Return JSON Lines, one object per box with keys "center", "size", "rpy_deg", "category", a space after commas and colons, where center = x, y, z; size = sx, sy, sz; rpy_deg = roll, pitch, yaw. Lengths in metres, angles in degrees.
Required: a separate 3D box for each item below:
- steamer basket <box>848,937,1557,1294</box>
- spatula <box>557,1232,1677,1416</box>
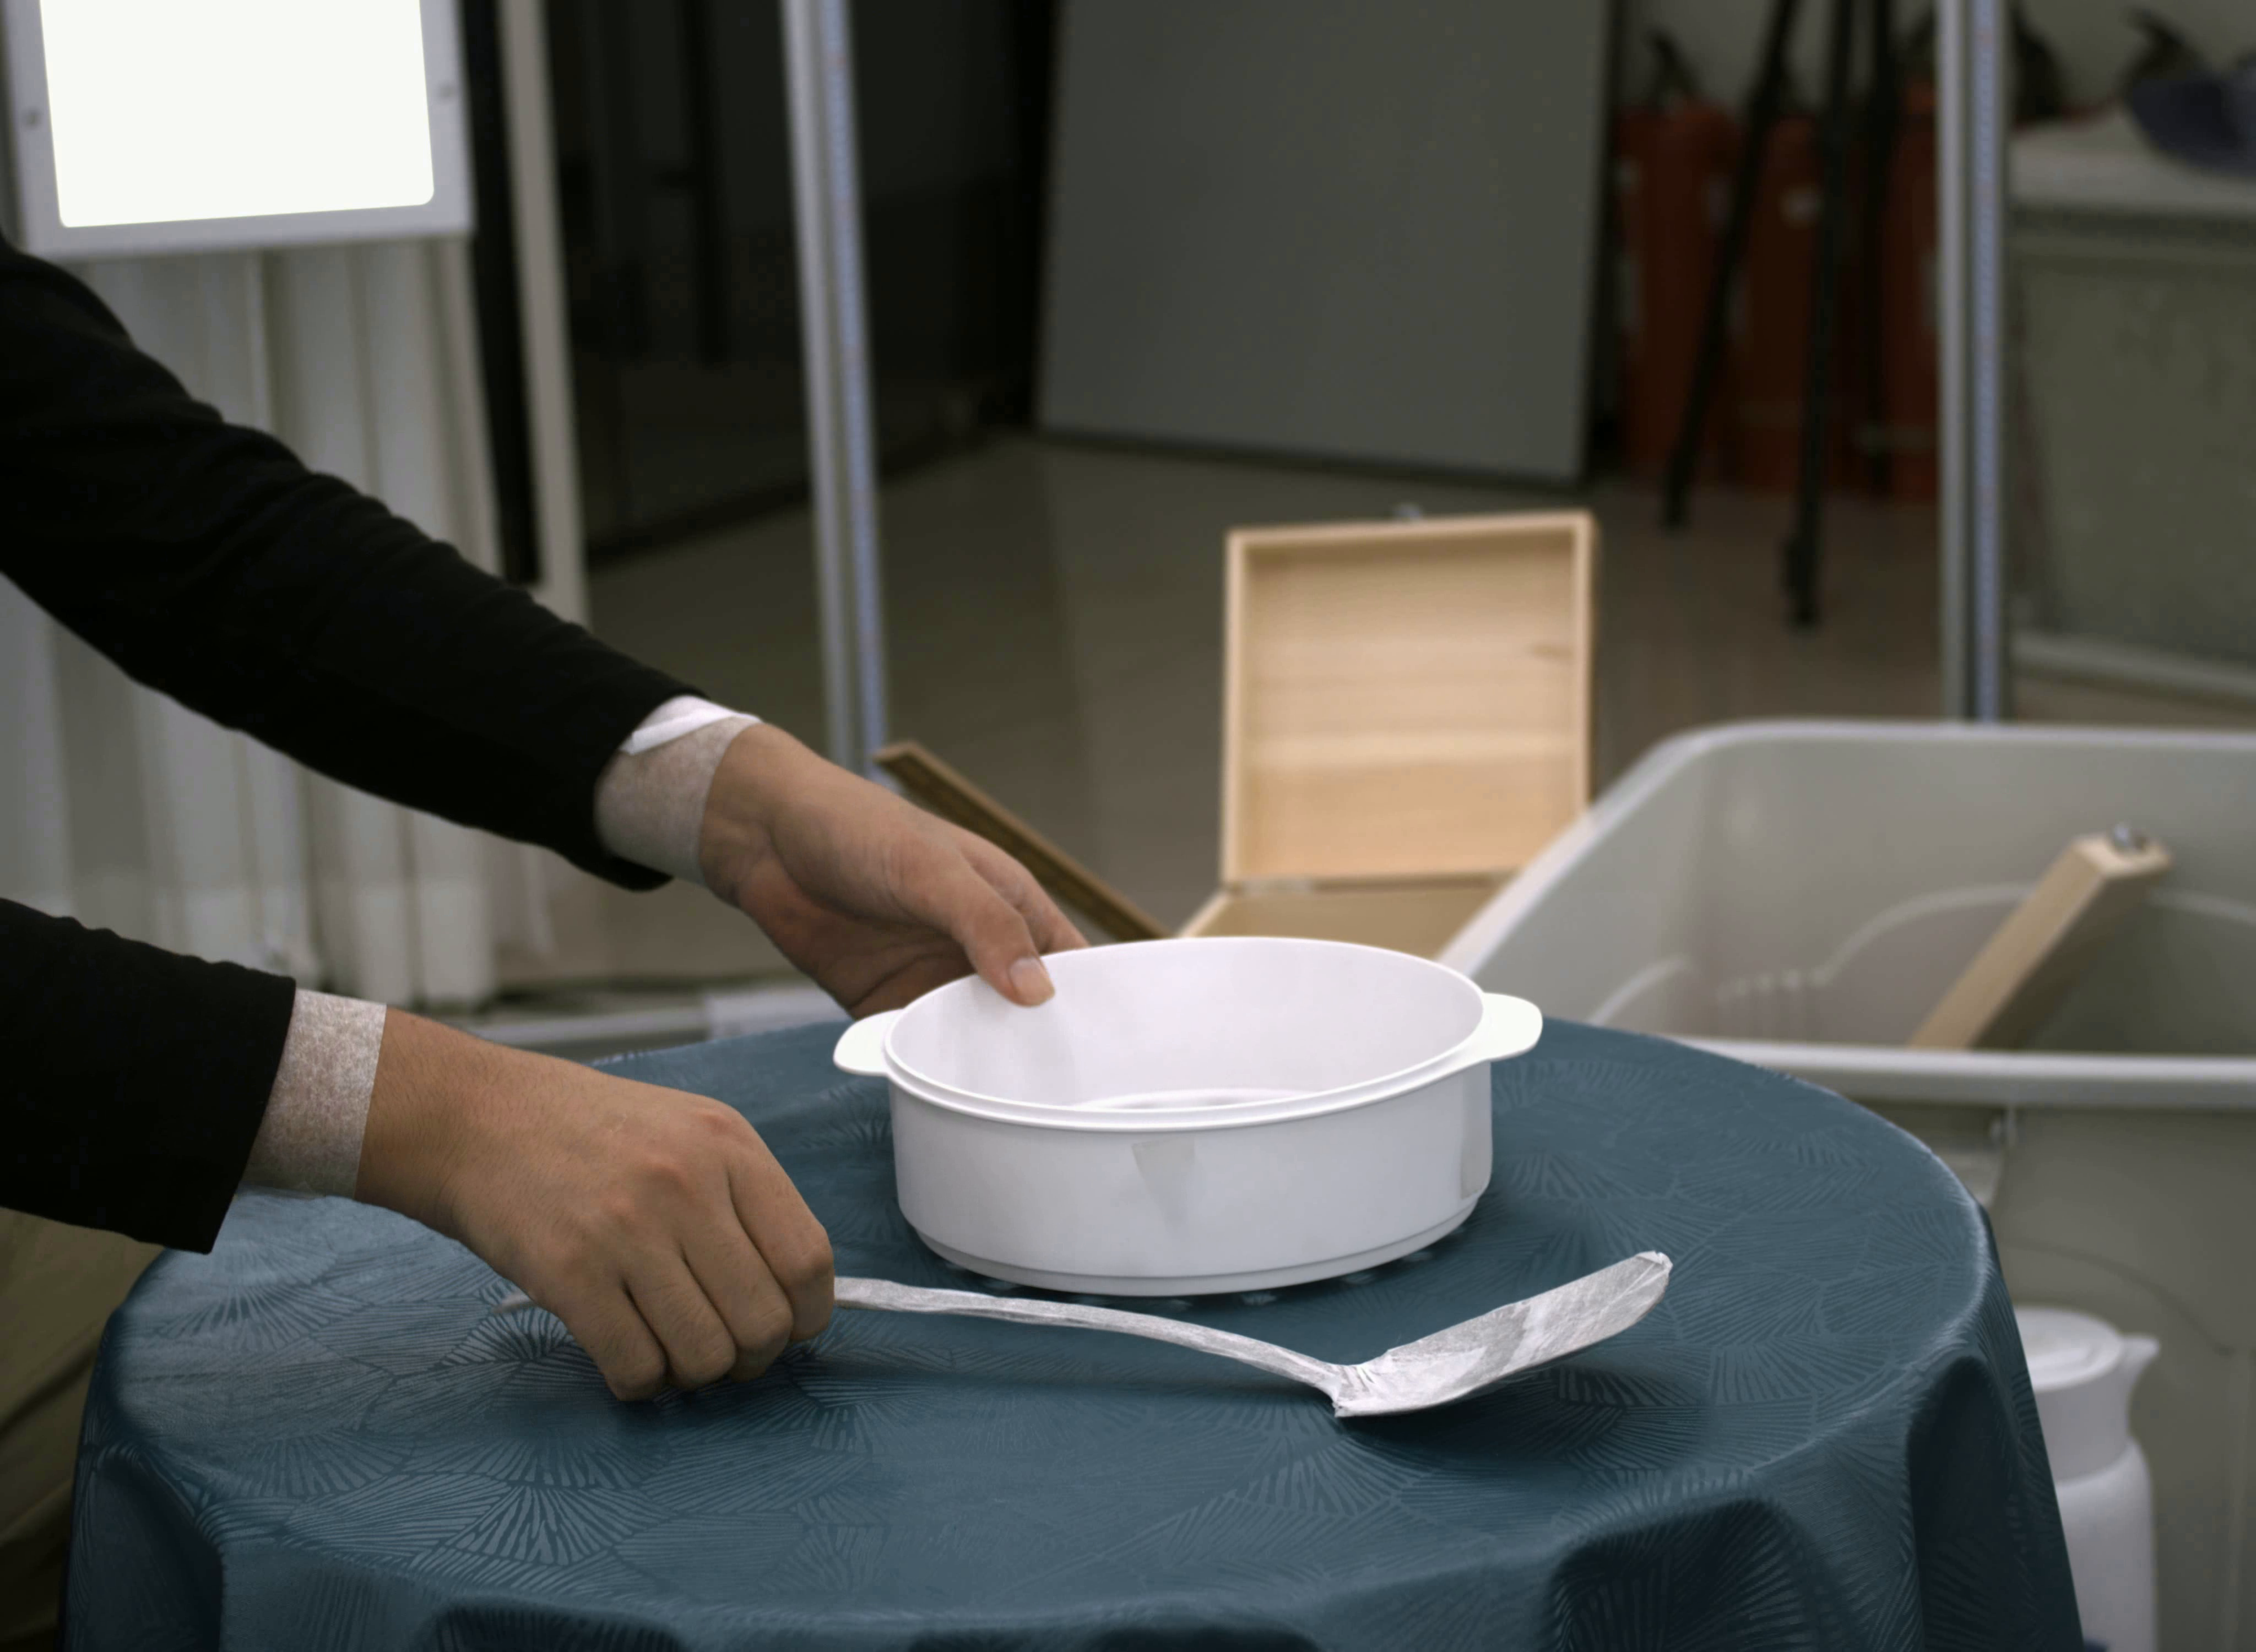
{"center": [0.026, 0.092, 1.732], "size": [0.229, 0.070, 0.201], "rpy_deg": [-3, 13, 9], "category": "steamer basket"}
{"center": [-0.015, 0.142, 1.601], "size": [0.365, 0.045, 0.097], "rpy_deg": [3, 17, 22], "category": "spatula"}
